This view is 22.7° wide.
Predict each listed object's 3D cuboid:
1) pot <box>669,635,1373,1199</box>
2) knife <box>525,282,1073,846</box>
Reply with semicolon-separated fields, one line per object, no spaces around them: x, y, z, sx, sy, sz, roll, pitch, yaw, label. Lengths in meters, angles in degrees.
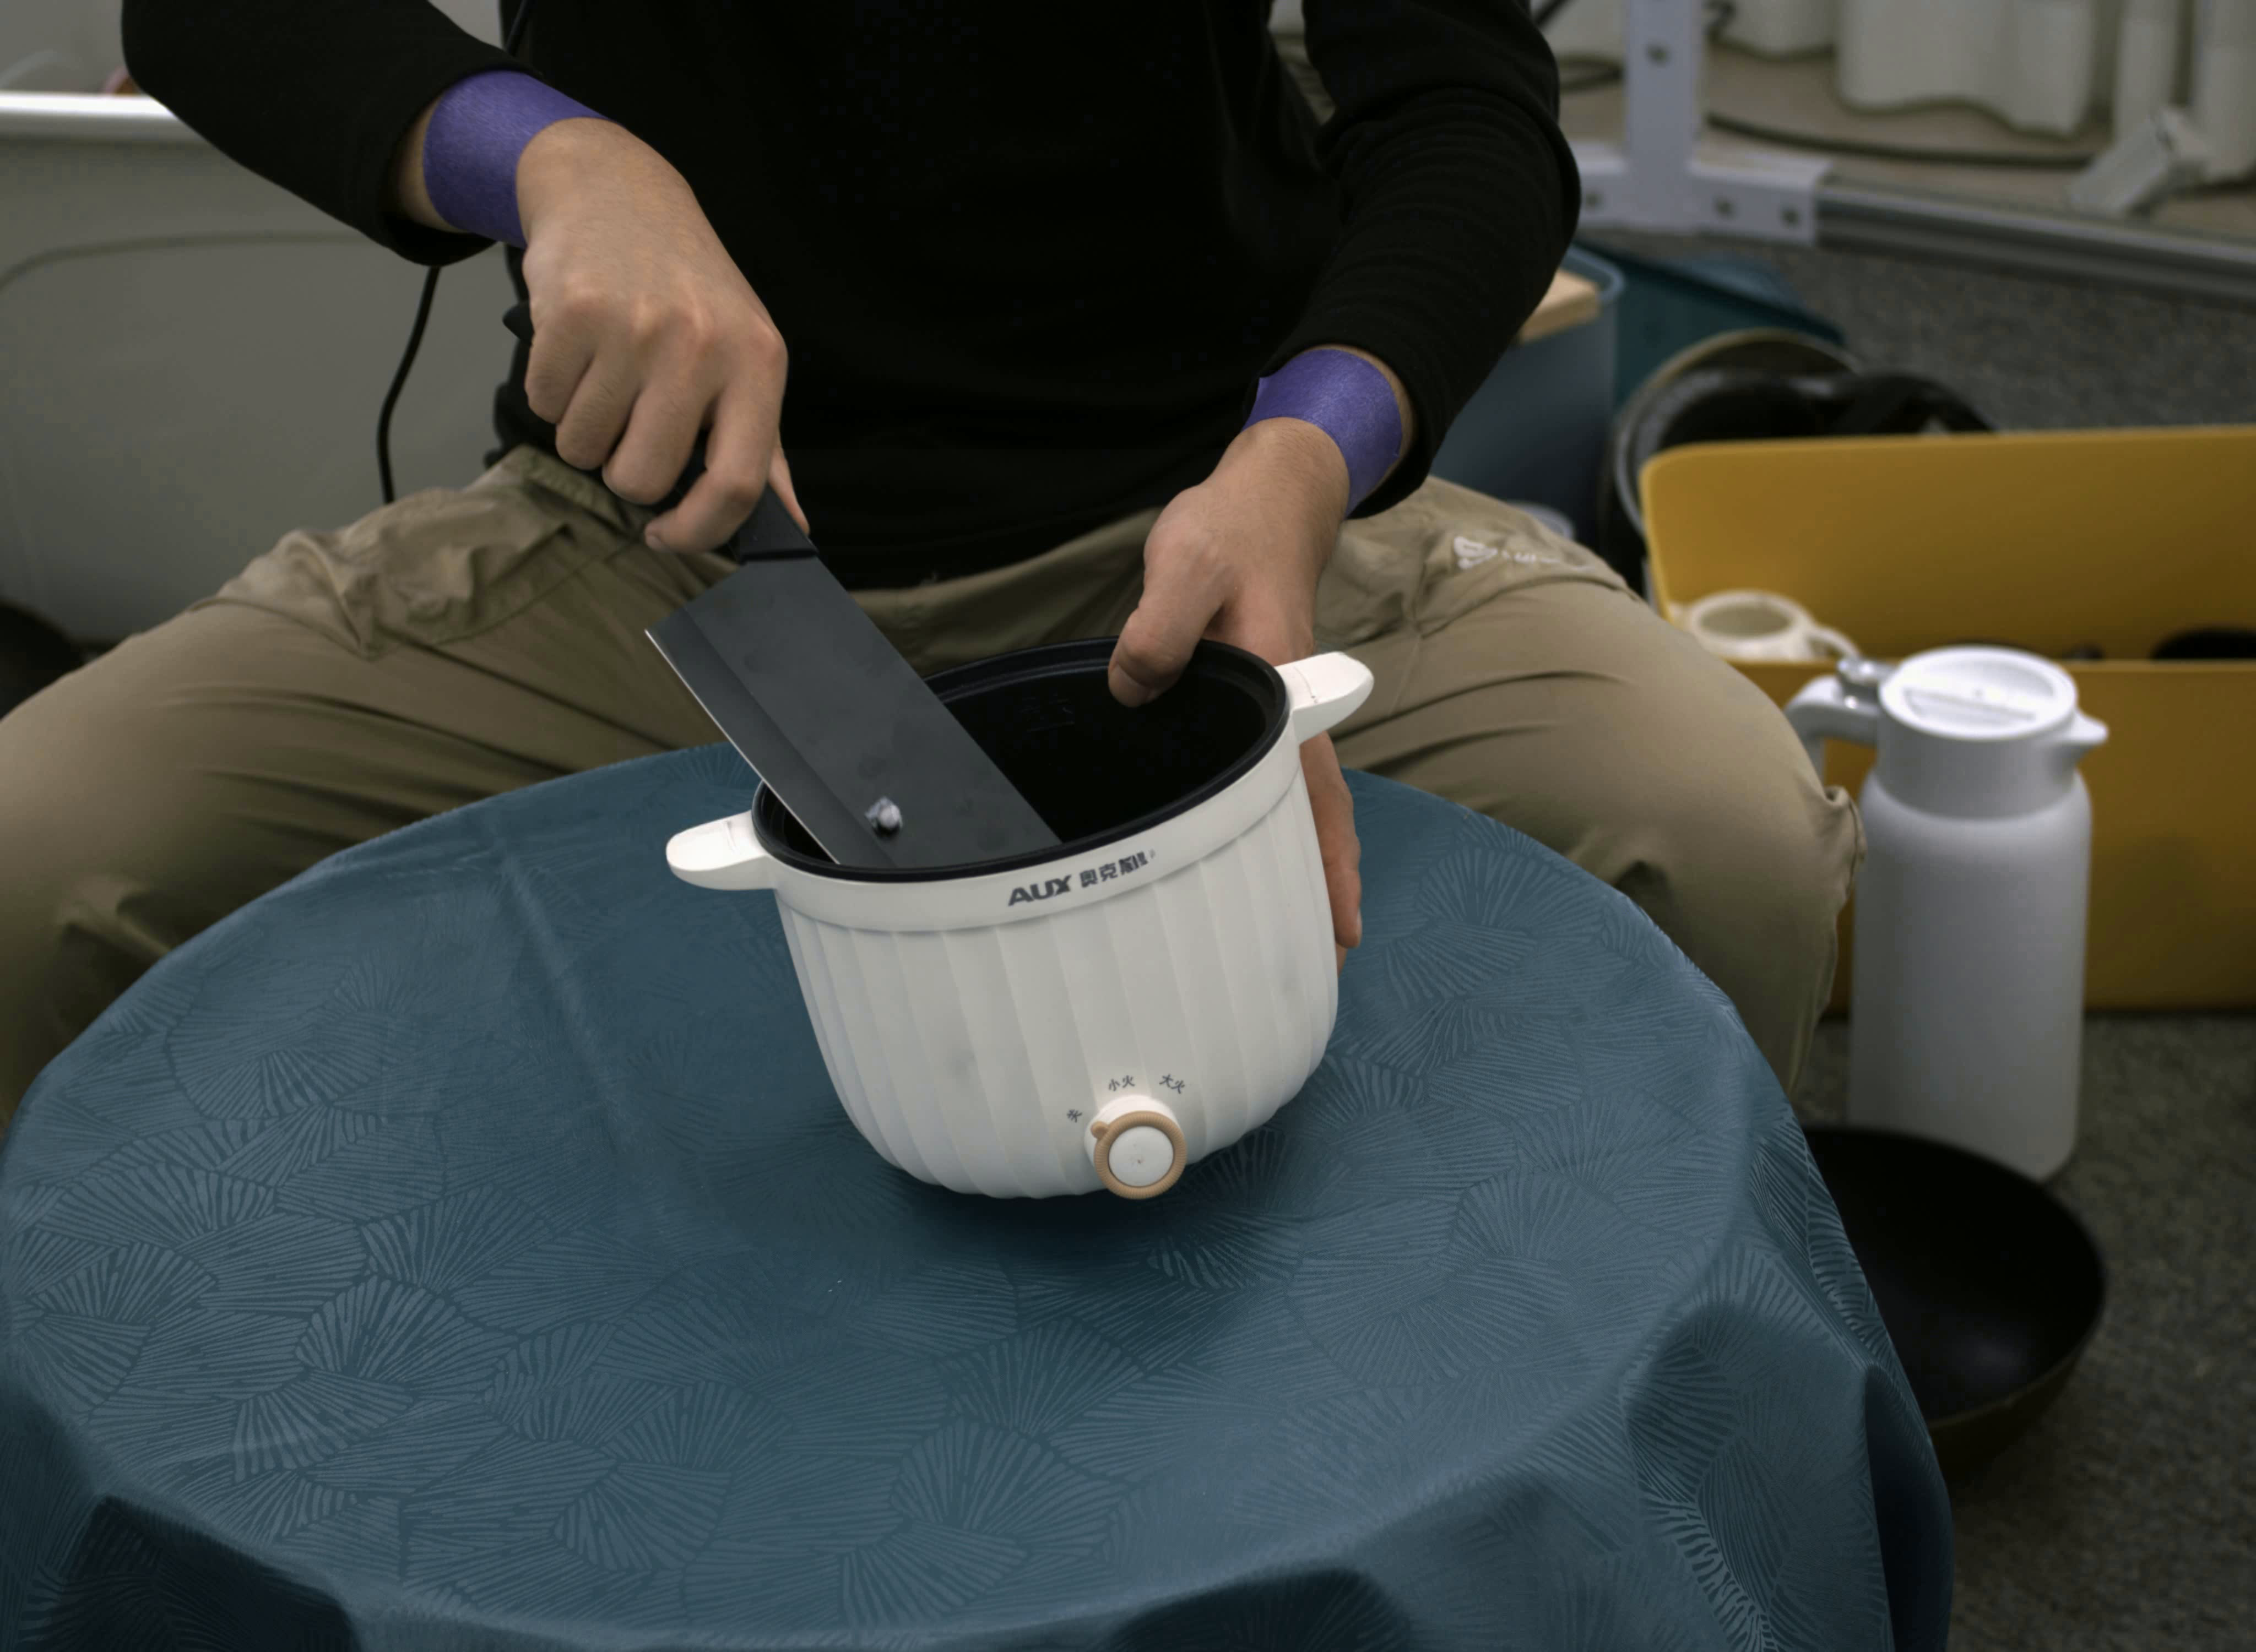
-0.019;0.036;1.856;0.240;0.142;0.192;-16;19;-6;pot
-0.105;-0.064;1.867;0.082;0.020;0.304;-30;72;-25;knife
